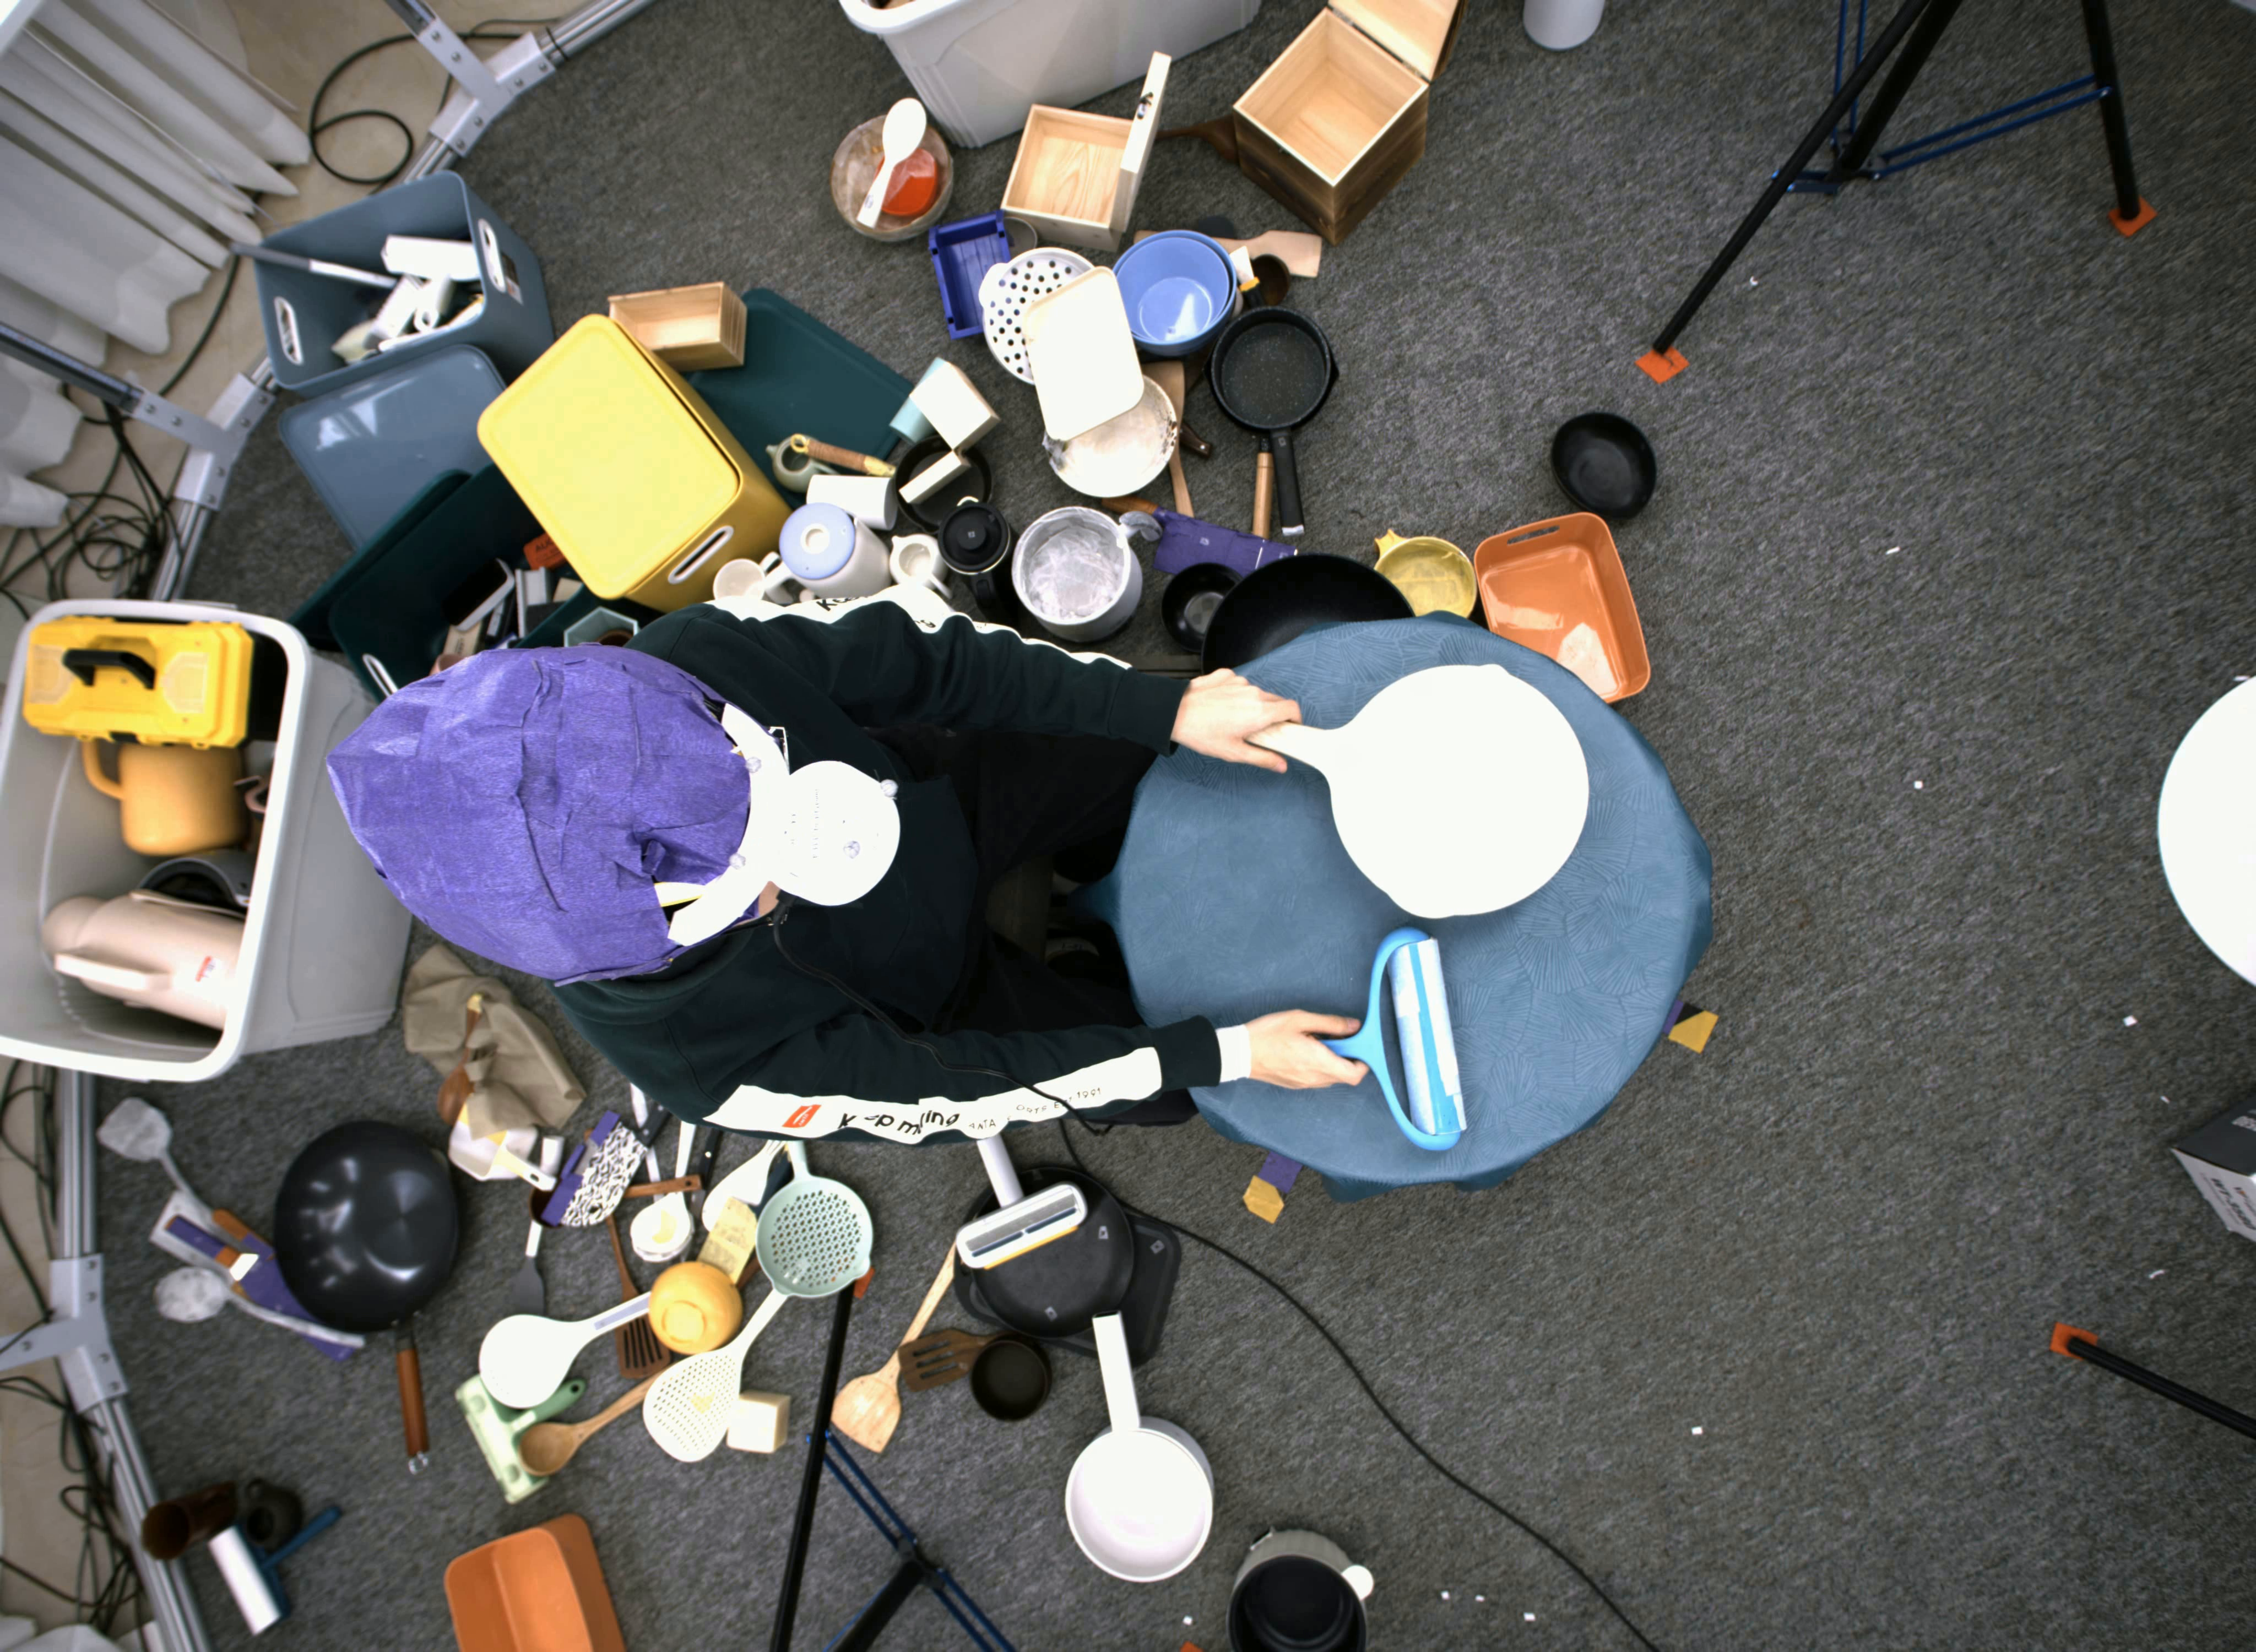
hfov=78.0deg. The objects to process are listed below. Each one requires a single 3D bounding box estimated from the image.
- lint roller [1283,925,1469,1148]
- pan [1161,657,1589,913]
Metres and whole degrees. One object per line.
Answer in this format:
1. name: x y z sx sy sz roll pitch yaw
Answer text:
1. lint roller: 0.248 0.225 1.422 0.181 0.068 0.228 -12 86 8
2. pan: 0.249 -0.065 1.416 0.435 0.102 0.263 17 91 15
